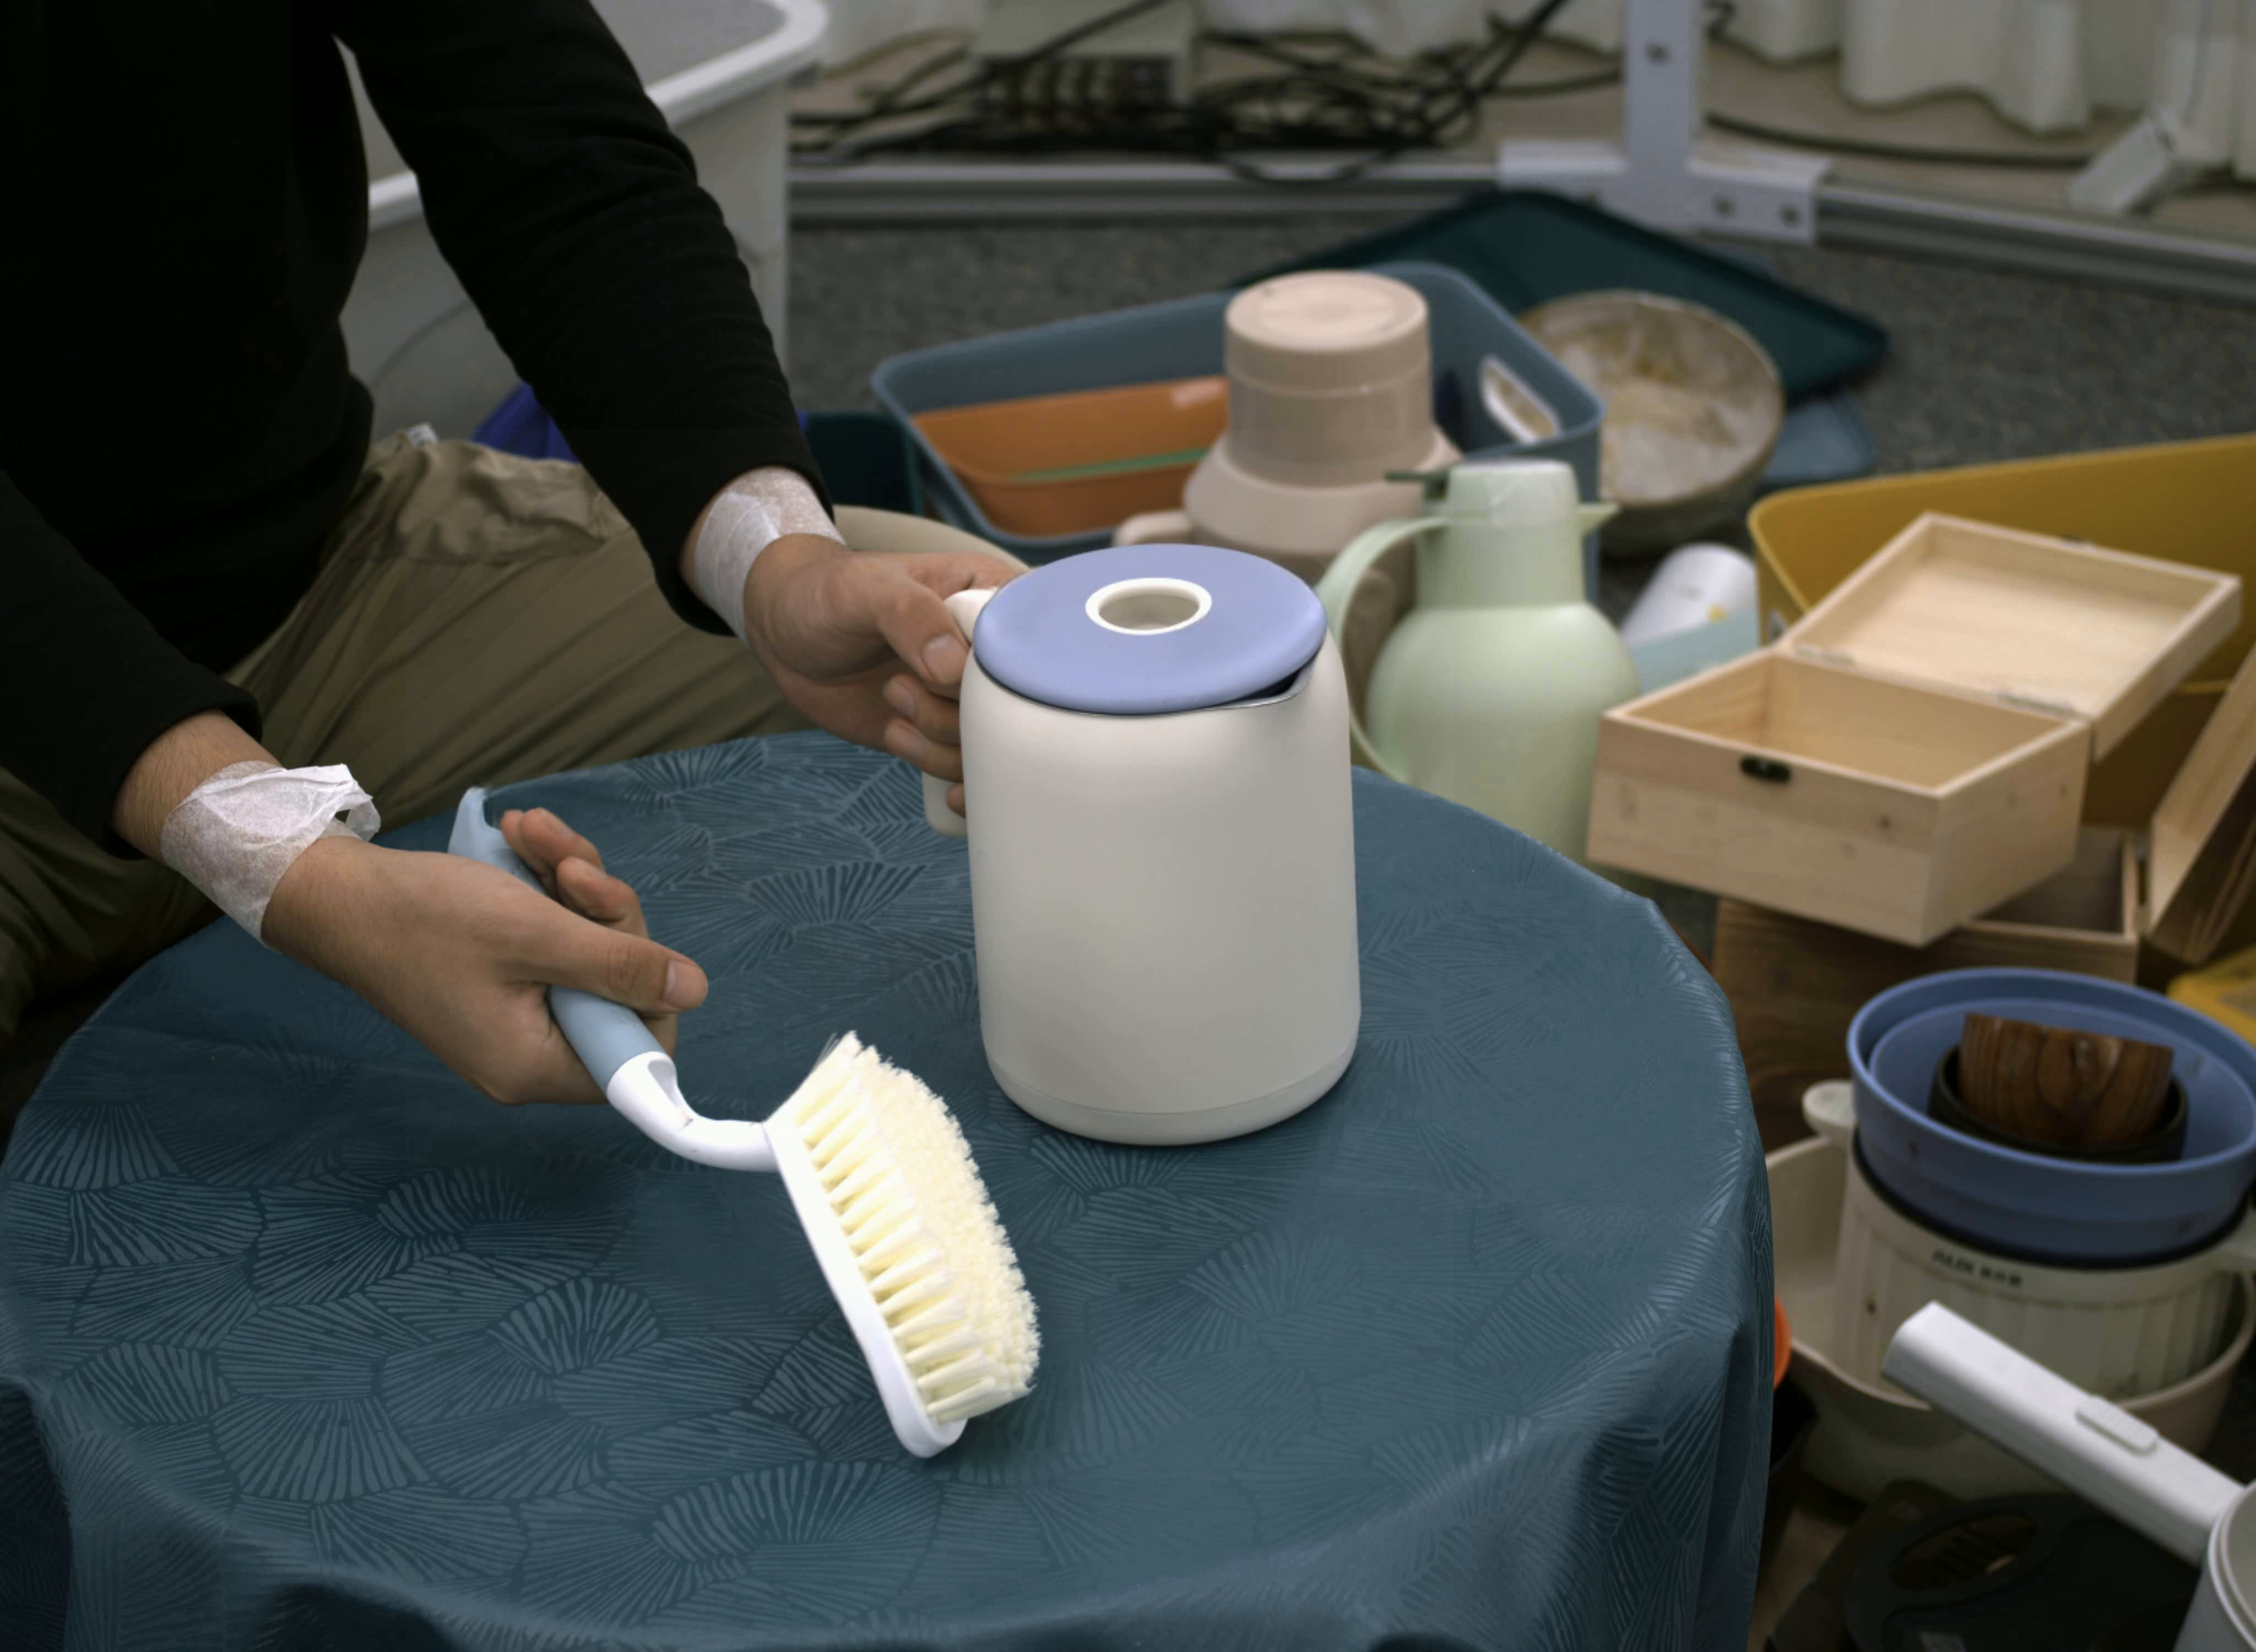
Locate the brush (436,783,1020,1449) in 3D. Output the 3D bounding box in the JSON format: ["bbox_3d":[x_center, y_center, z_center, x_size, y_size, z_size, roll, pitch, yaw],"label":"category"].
[{"bbox_3d":[-0.123,0.067,1.812,0.085,0.082,0.328,-18,47,-25],"label":"brush"}]

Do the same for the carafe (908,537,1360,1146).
[{"bbox_3d":[-0.006,-0.003,1.917,0.134,0.181,0.191,-26,33,-38],"label":"carafe"}]
